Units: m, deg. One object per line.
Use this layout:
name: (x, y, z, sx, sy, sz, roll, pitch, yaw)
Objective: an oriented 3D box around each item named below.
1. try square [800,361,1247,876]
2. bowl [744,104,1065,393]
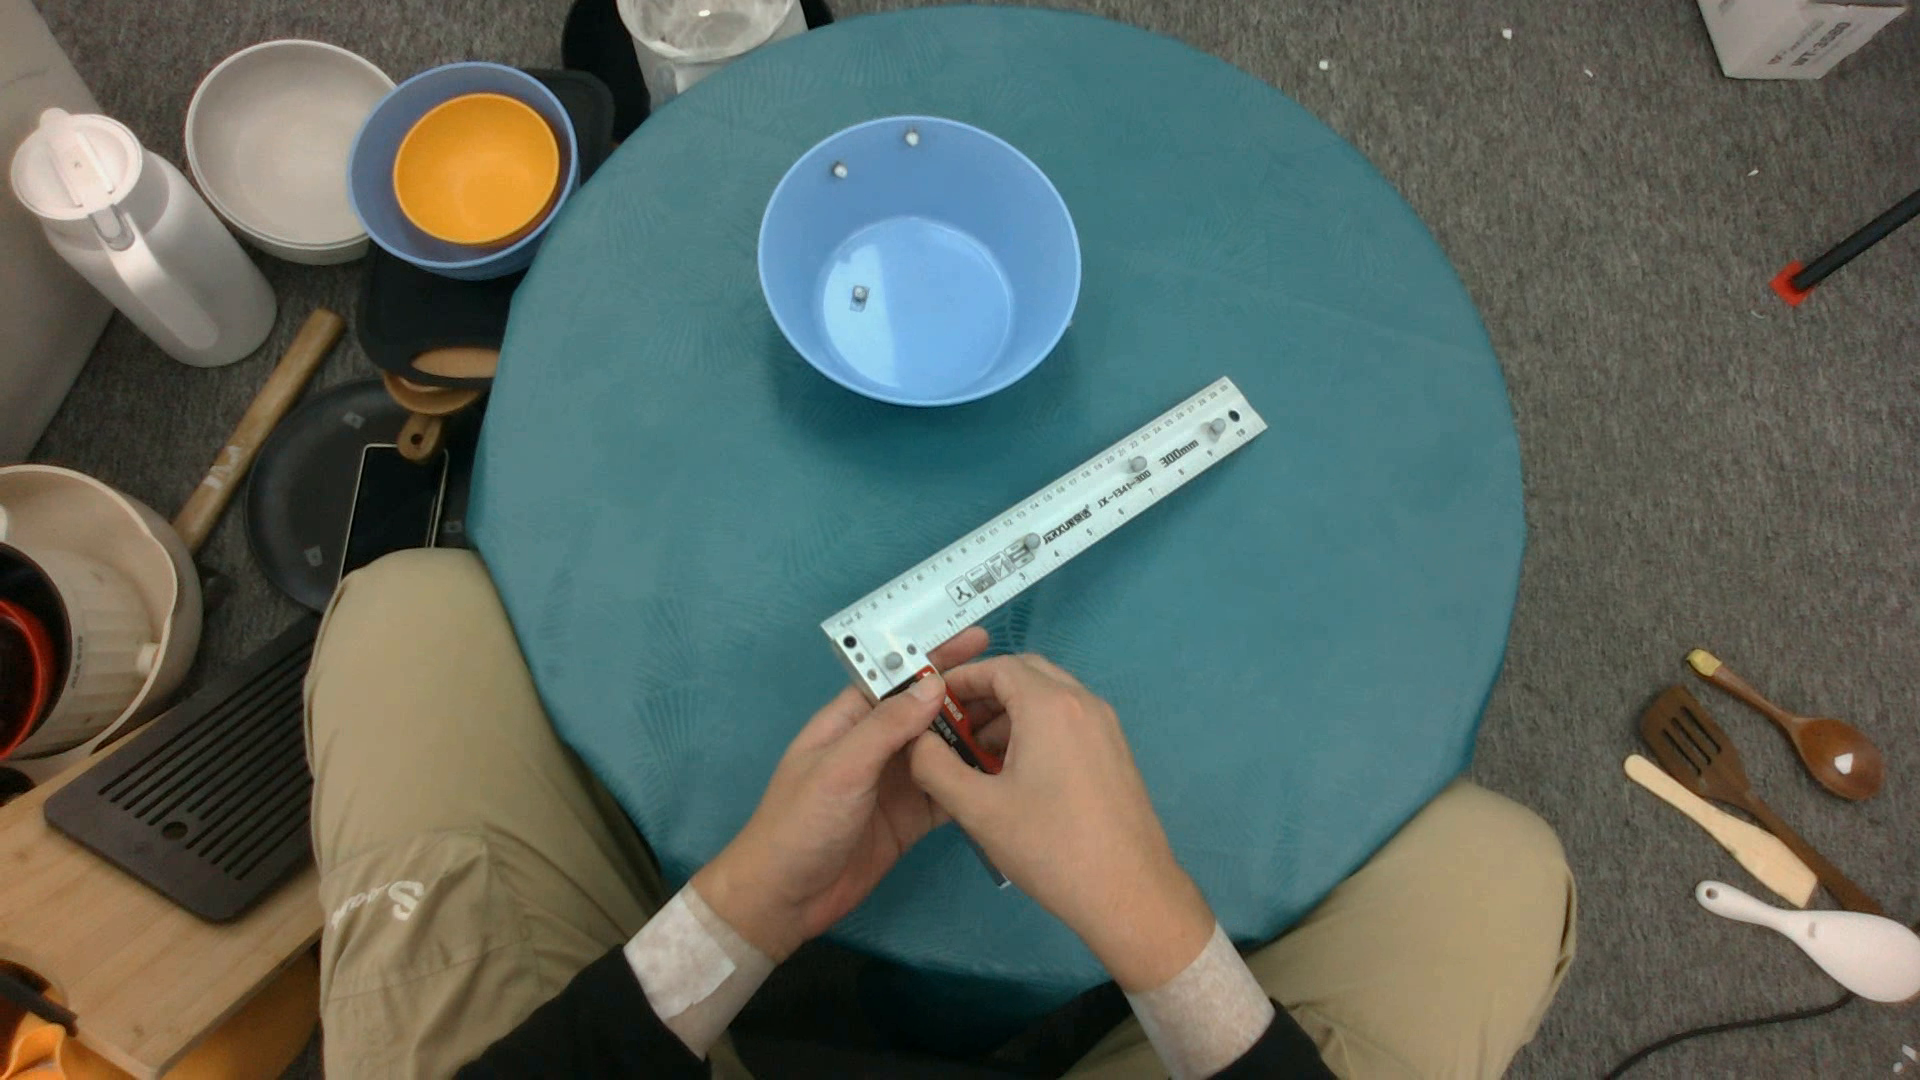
try square: (0.077, 0.025, 0.723, 0.314, 0.016, 0.152, -31, 84, -32)
bowl: (-0.032, -0.152, 0.775, 0.176, 0.070, 0.176, 2, 72, -7)
